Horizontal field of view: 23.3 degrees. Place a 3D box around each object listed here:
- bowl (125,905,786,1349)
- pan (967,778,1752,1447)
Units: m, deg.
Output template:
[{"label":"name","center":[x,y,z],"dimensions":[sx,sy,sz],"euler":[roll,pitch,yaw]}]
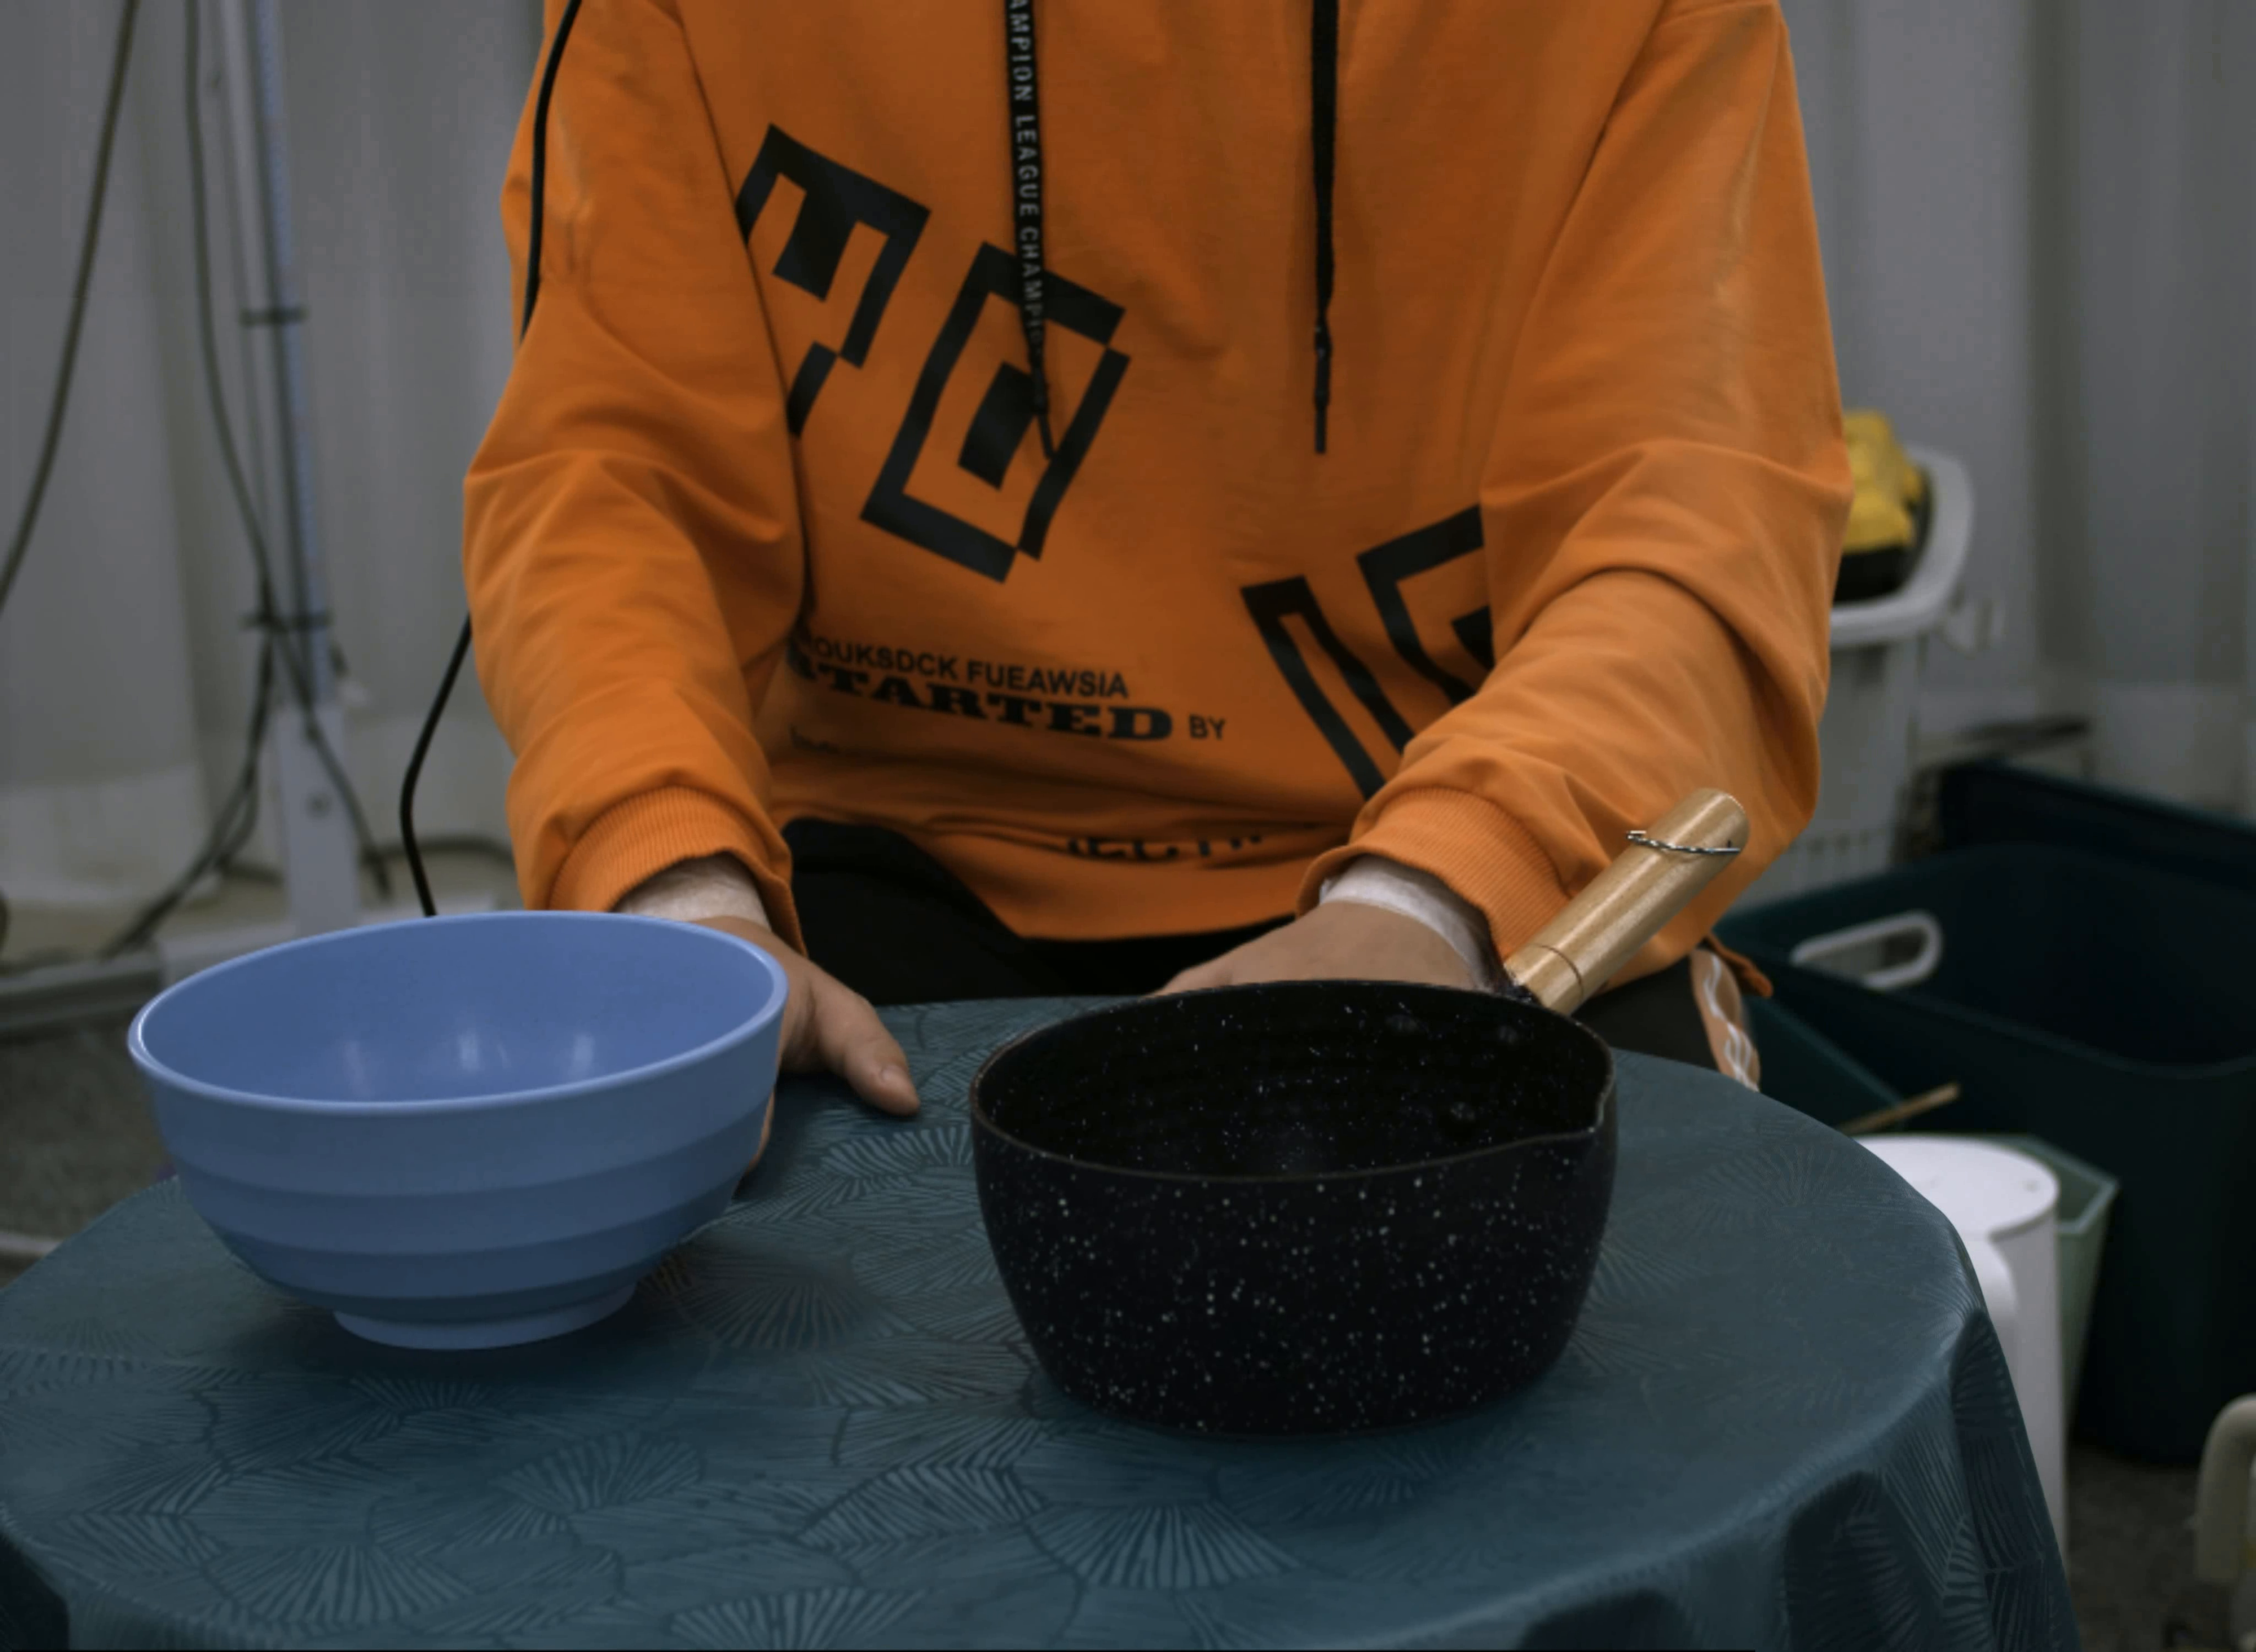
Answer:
[{"label":"bowl","center":[-0.196,0.096,1.638],"dimensions":[0.196,0.095,0.198],"euler":[-4,16,1]},{"label":"pan","center":[0.093,0.080,1.619],"dimensions":[0.208,0.108,0.343],"euler":[6,19,34]}]
